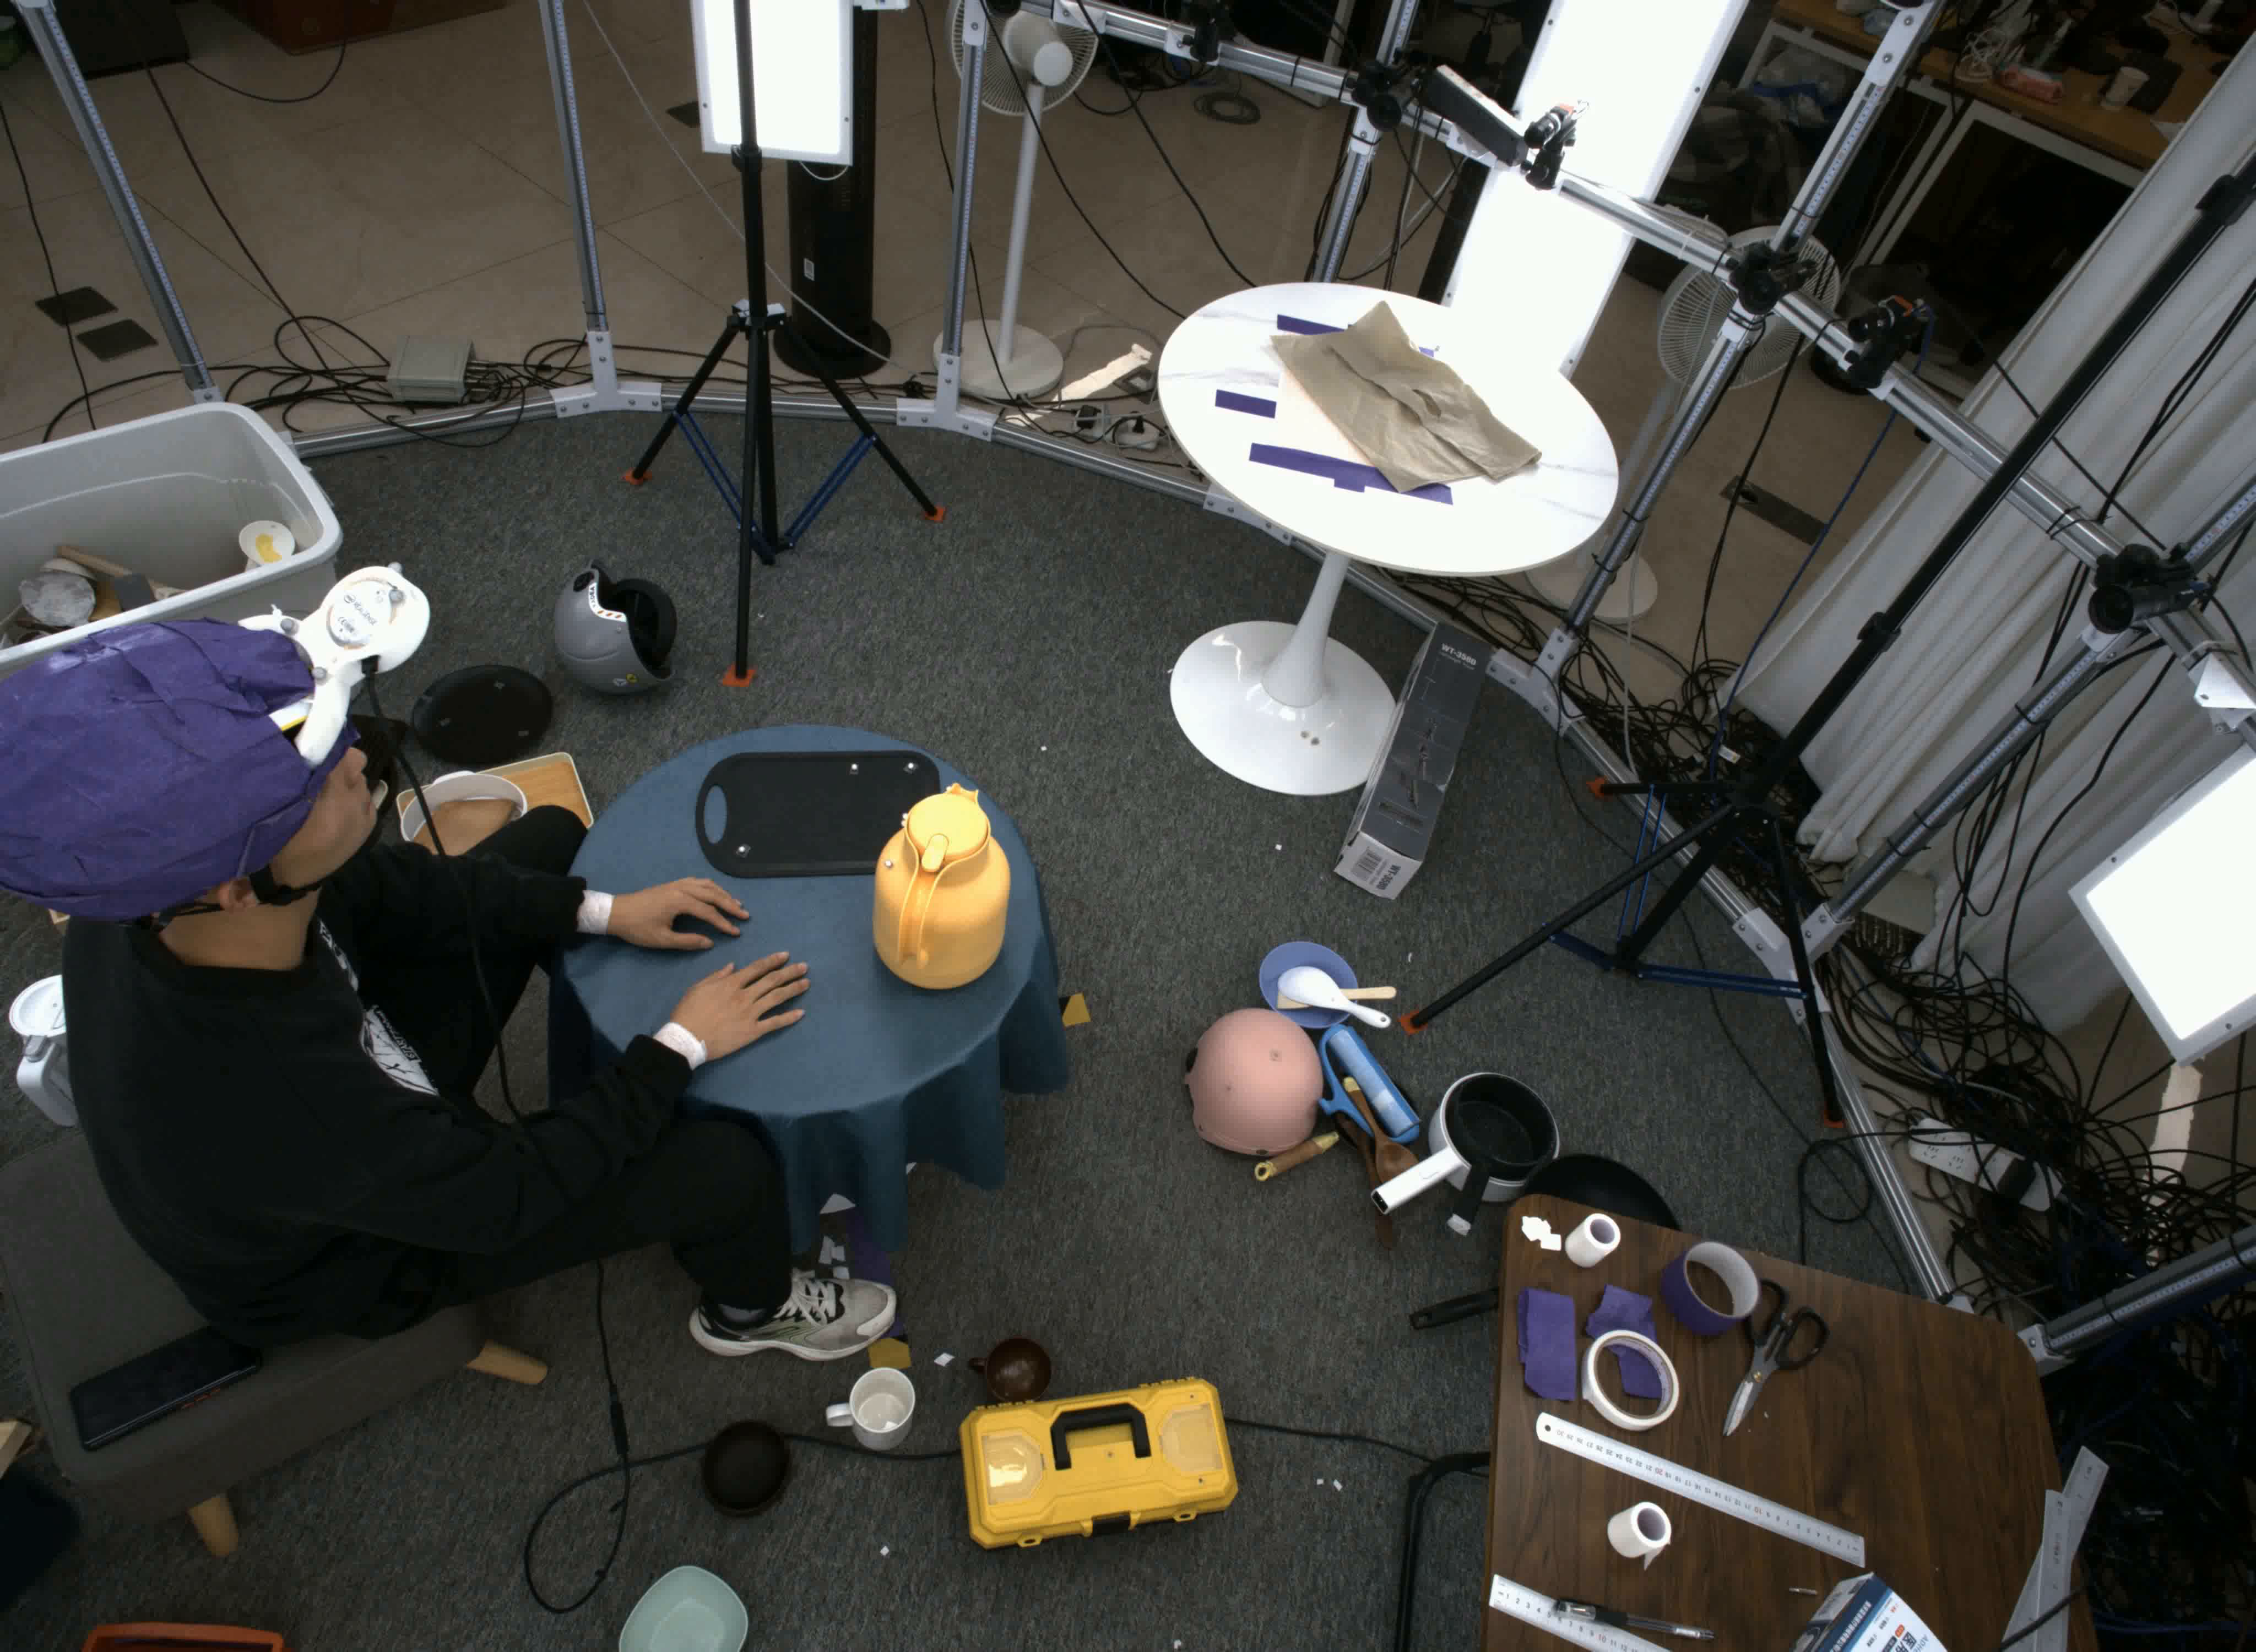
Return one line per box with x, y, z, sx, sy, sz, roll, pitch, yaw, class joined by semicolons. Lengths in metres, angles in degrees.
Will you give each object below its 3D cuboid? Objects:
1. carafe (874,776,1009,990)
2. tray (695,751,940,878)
-0.229;0.081;1.542;0.161;0.267;0.200;17;50;4;carafe
-0.412;-0.021;1.736;0.326;0.010;0.206;-1;54;-15;tray
